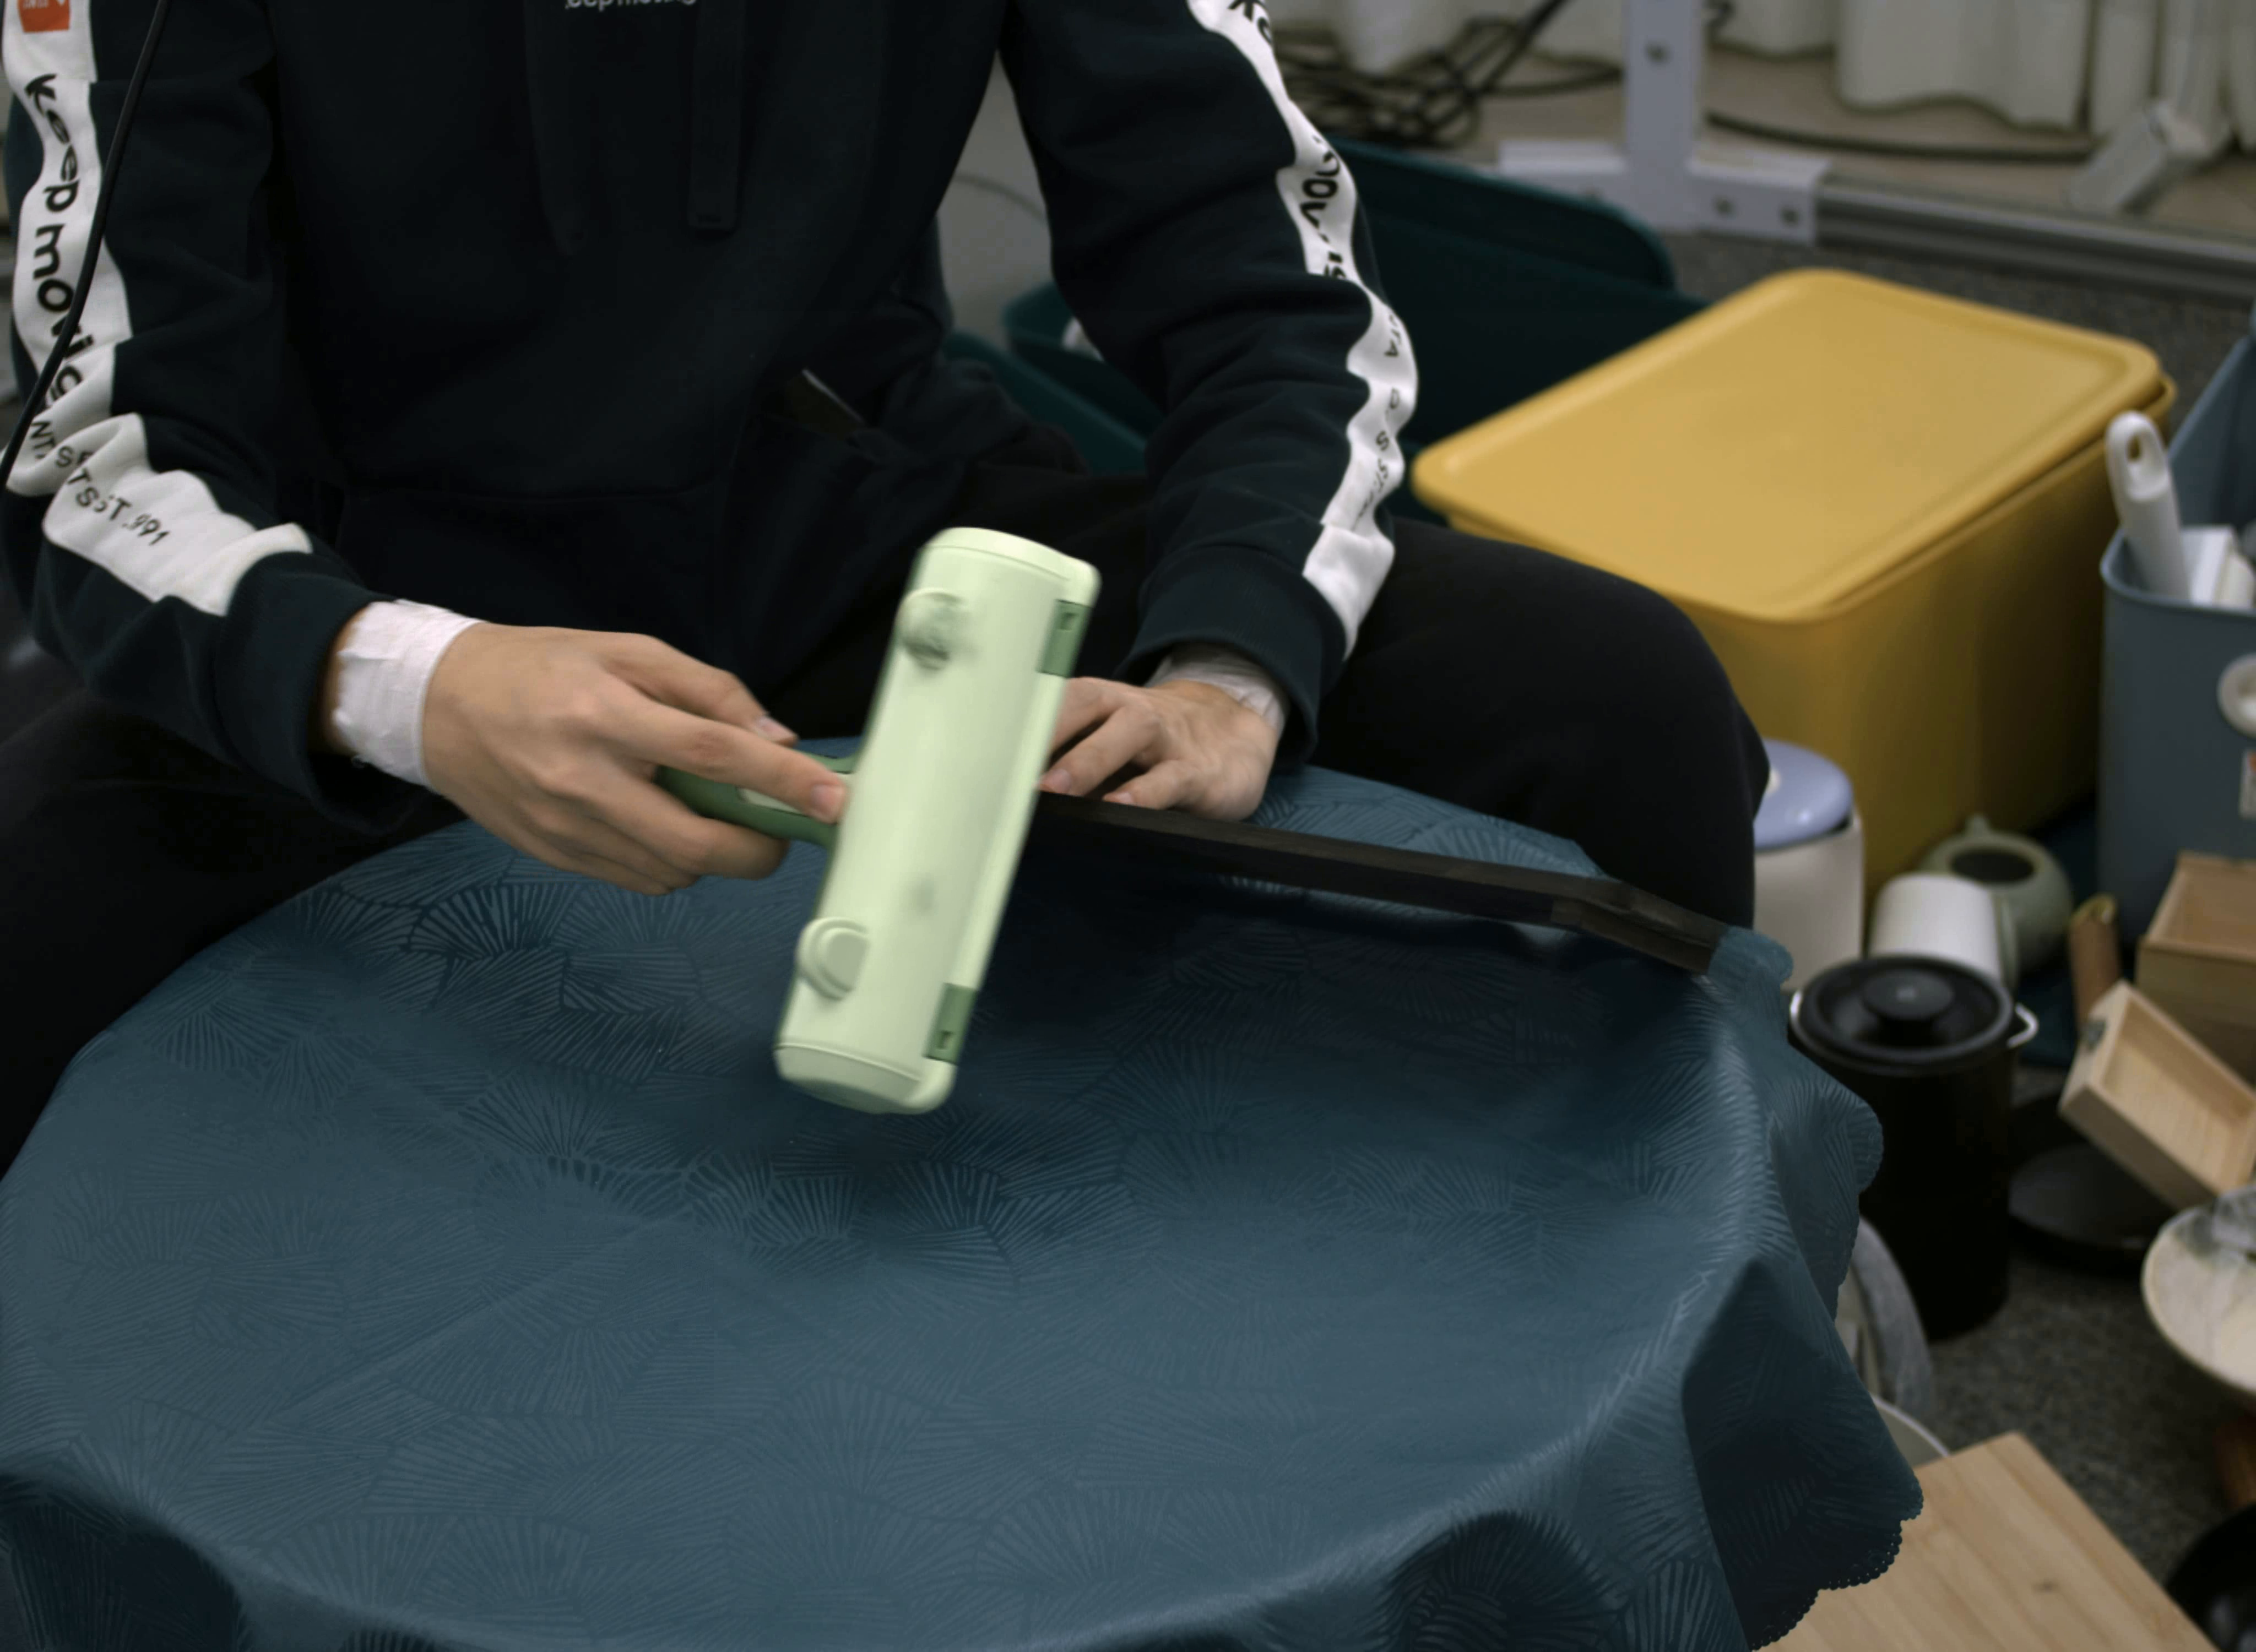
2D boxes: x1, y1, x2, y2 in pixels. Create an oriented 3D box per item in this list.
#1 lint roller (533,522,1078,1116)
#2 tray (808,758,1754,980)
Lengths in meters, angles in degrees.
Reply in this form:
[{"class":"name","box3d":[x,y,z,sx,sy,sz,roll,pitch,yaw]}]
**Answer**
[{"class":"lint roller","box3d":[-0.125,-0.016,1.881,0.182,0.201,0.081,12,-14,16]},{"class":"tray","box3d":[0.052,0.017,1.952,0.304,0.019,0.170,9,-4,22]}]
